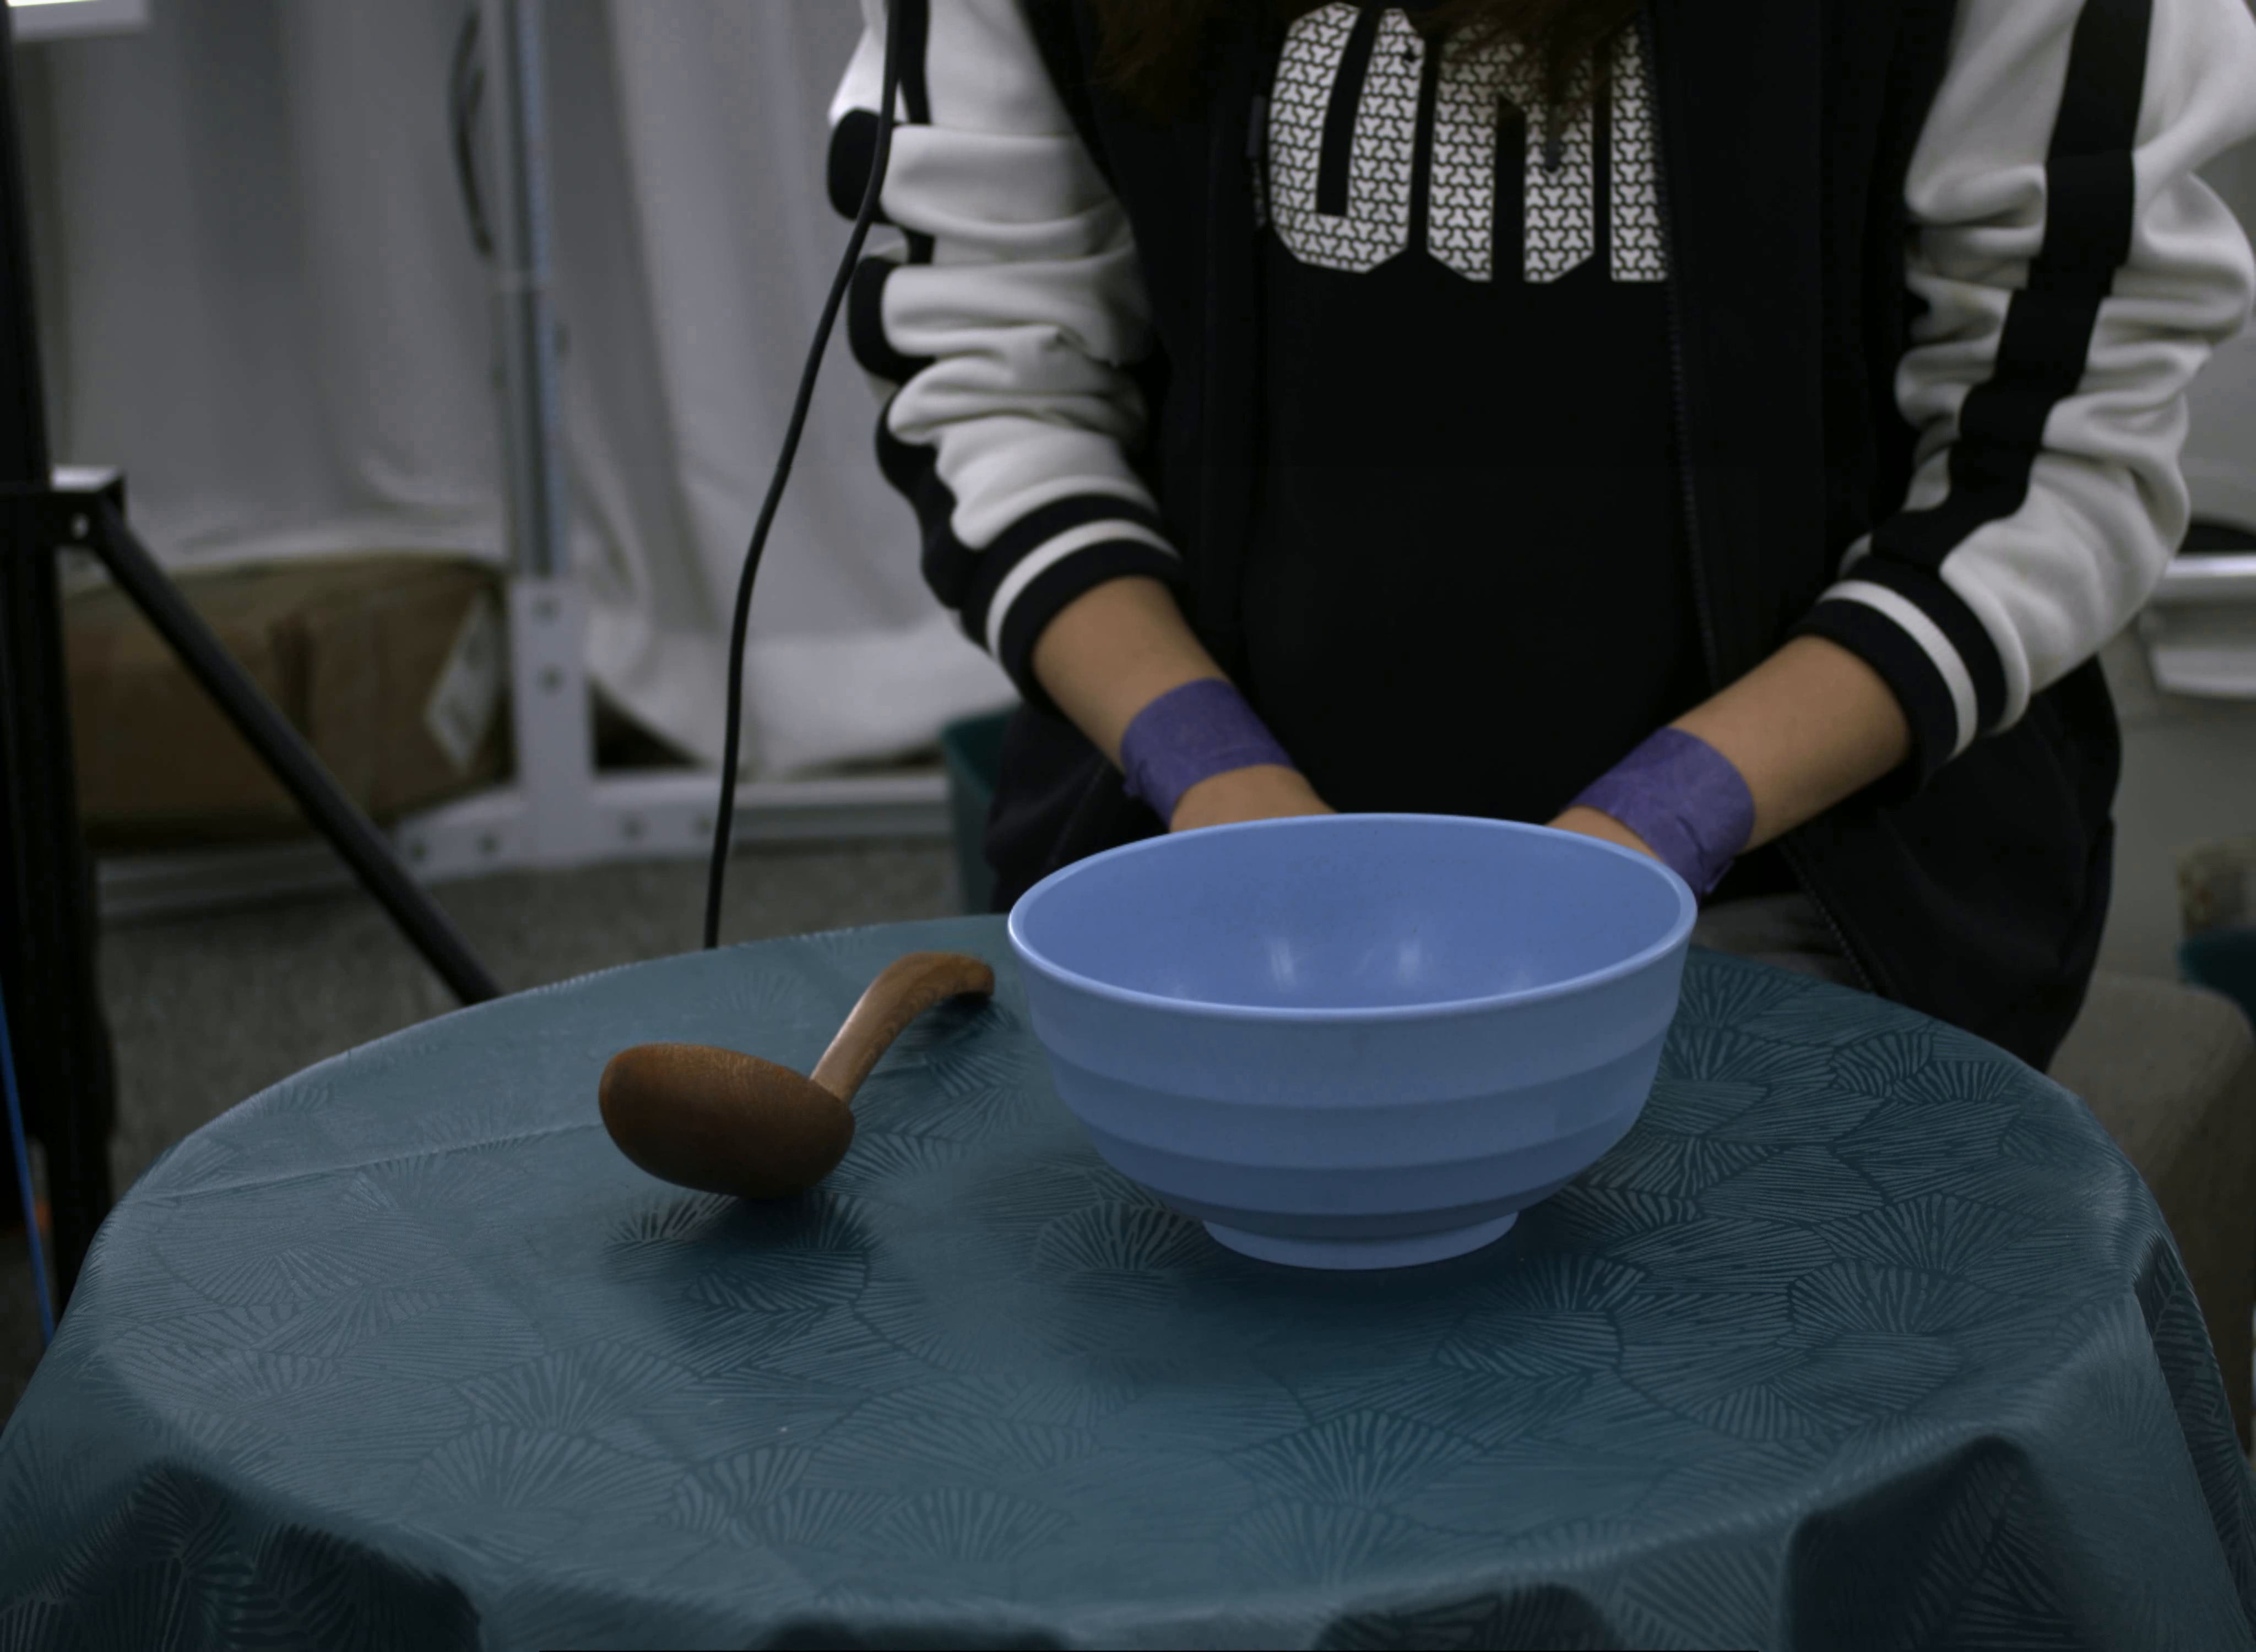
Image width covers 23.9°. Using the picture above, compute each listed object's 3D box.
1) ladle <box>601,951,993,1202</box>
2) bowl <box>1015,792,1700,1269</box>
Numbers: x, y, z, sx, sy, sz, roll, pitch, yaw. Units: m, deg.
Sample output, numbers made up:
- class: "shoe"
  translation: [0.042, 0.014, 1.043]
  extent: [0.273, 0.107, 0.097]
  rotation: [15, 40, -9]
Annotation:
- class: "ladle"
  translation: [-0.088, 0.059, 1.629]
  extent: [0.077, 0.065, 0.257]
  rotation: [9, 18, 15]
- class: "bowl"
  translation: [0.071, 0.066, 1.522]
  extent: [0.196, 0.095, 0.197]
  rotation: [-8, 17, 1]
